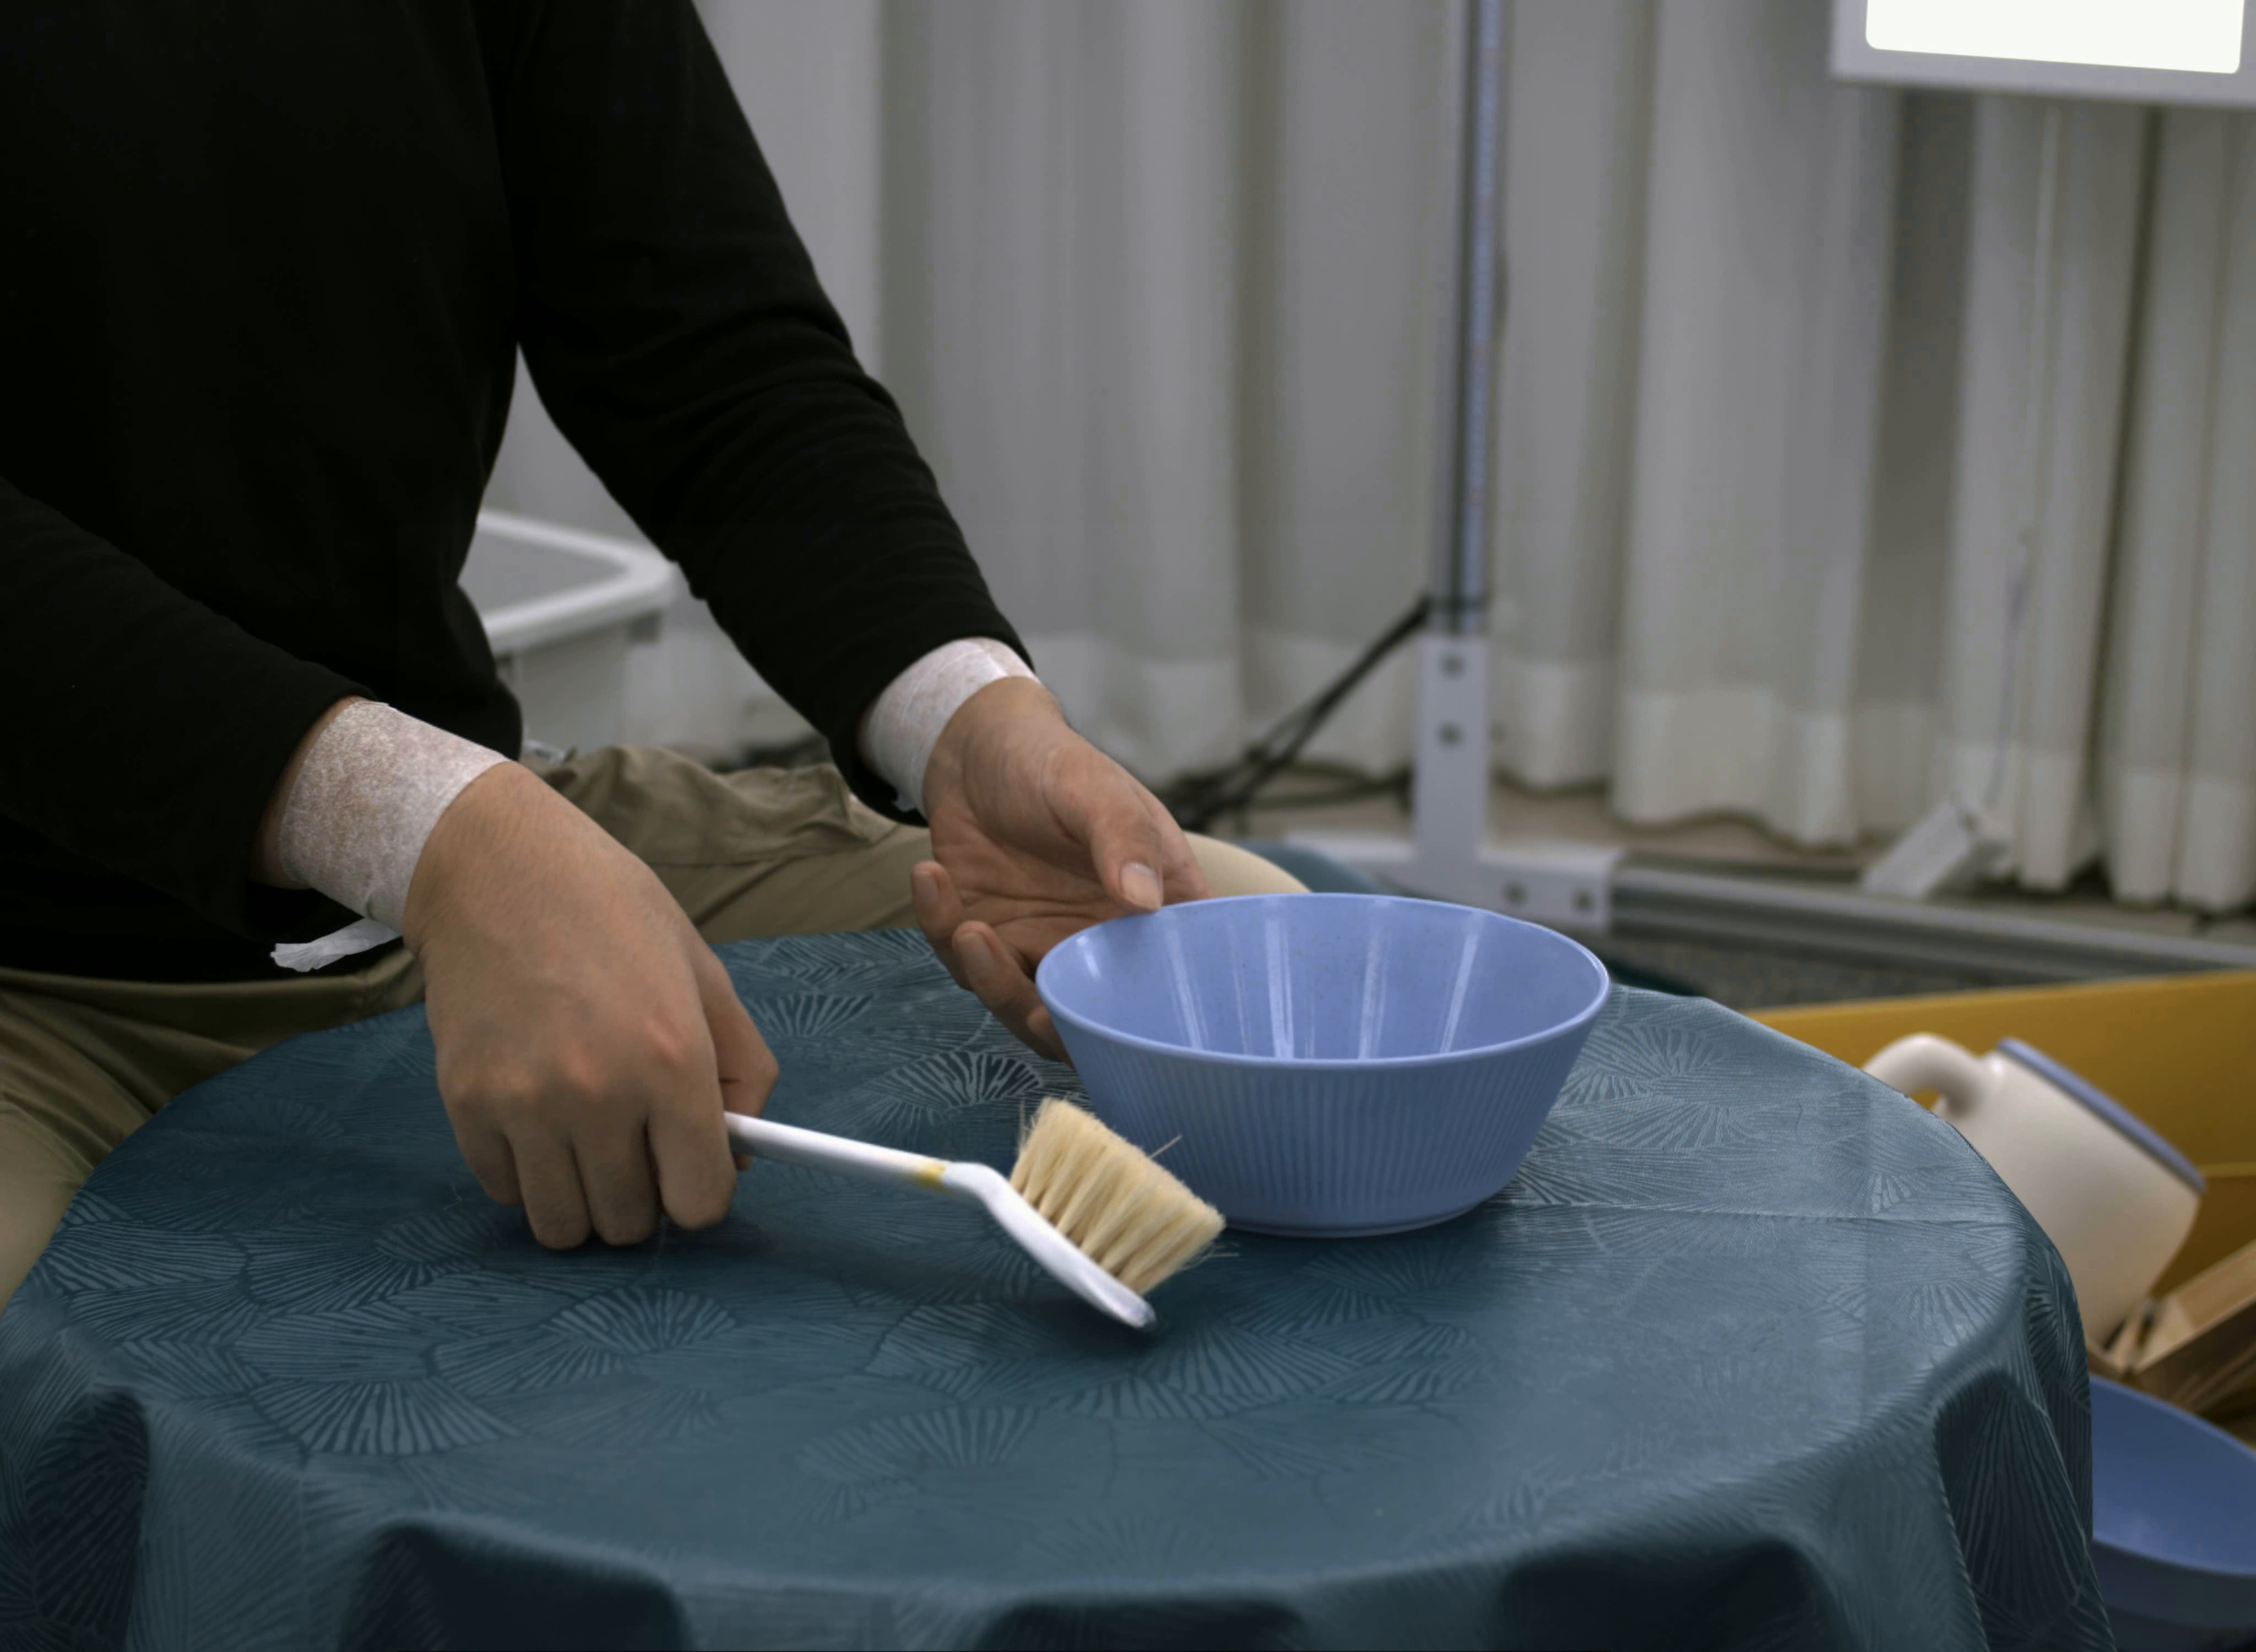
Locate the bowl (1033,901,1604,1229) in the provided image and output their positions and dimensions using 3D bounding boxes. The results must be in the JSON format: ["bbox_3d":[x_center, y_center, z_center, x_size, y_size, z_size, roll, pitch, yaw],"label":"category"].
[{"bbox_3d":[0.058,0.075,1.621,0.175,0.071,0.175,1,14,0],"label":"bowl"}]

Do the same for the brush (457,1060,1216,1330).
[{"bbox_3d":[-0.089,0.086,1.552,0.263,0.056,0.069,15,-20,34],"label":"brush"}]
